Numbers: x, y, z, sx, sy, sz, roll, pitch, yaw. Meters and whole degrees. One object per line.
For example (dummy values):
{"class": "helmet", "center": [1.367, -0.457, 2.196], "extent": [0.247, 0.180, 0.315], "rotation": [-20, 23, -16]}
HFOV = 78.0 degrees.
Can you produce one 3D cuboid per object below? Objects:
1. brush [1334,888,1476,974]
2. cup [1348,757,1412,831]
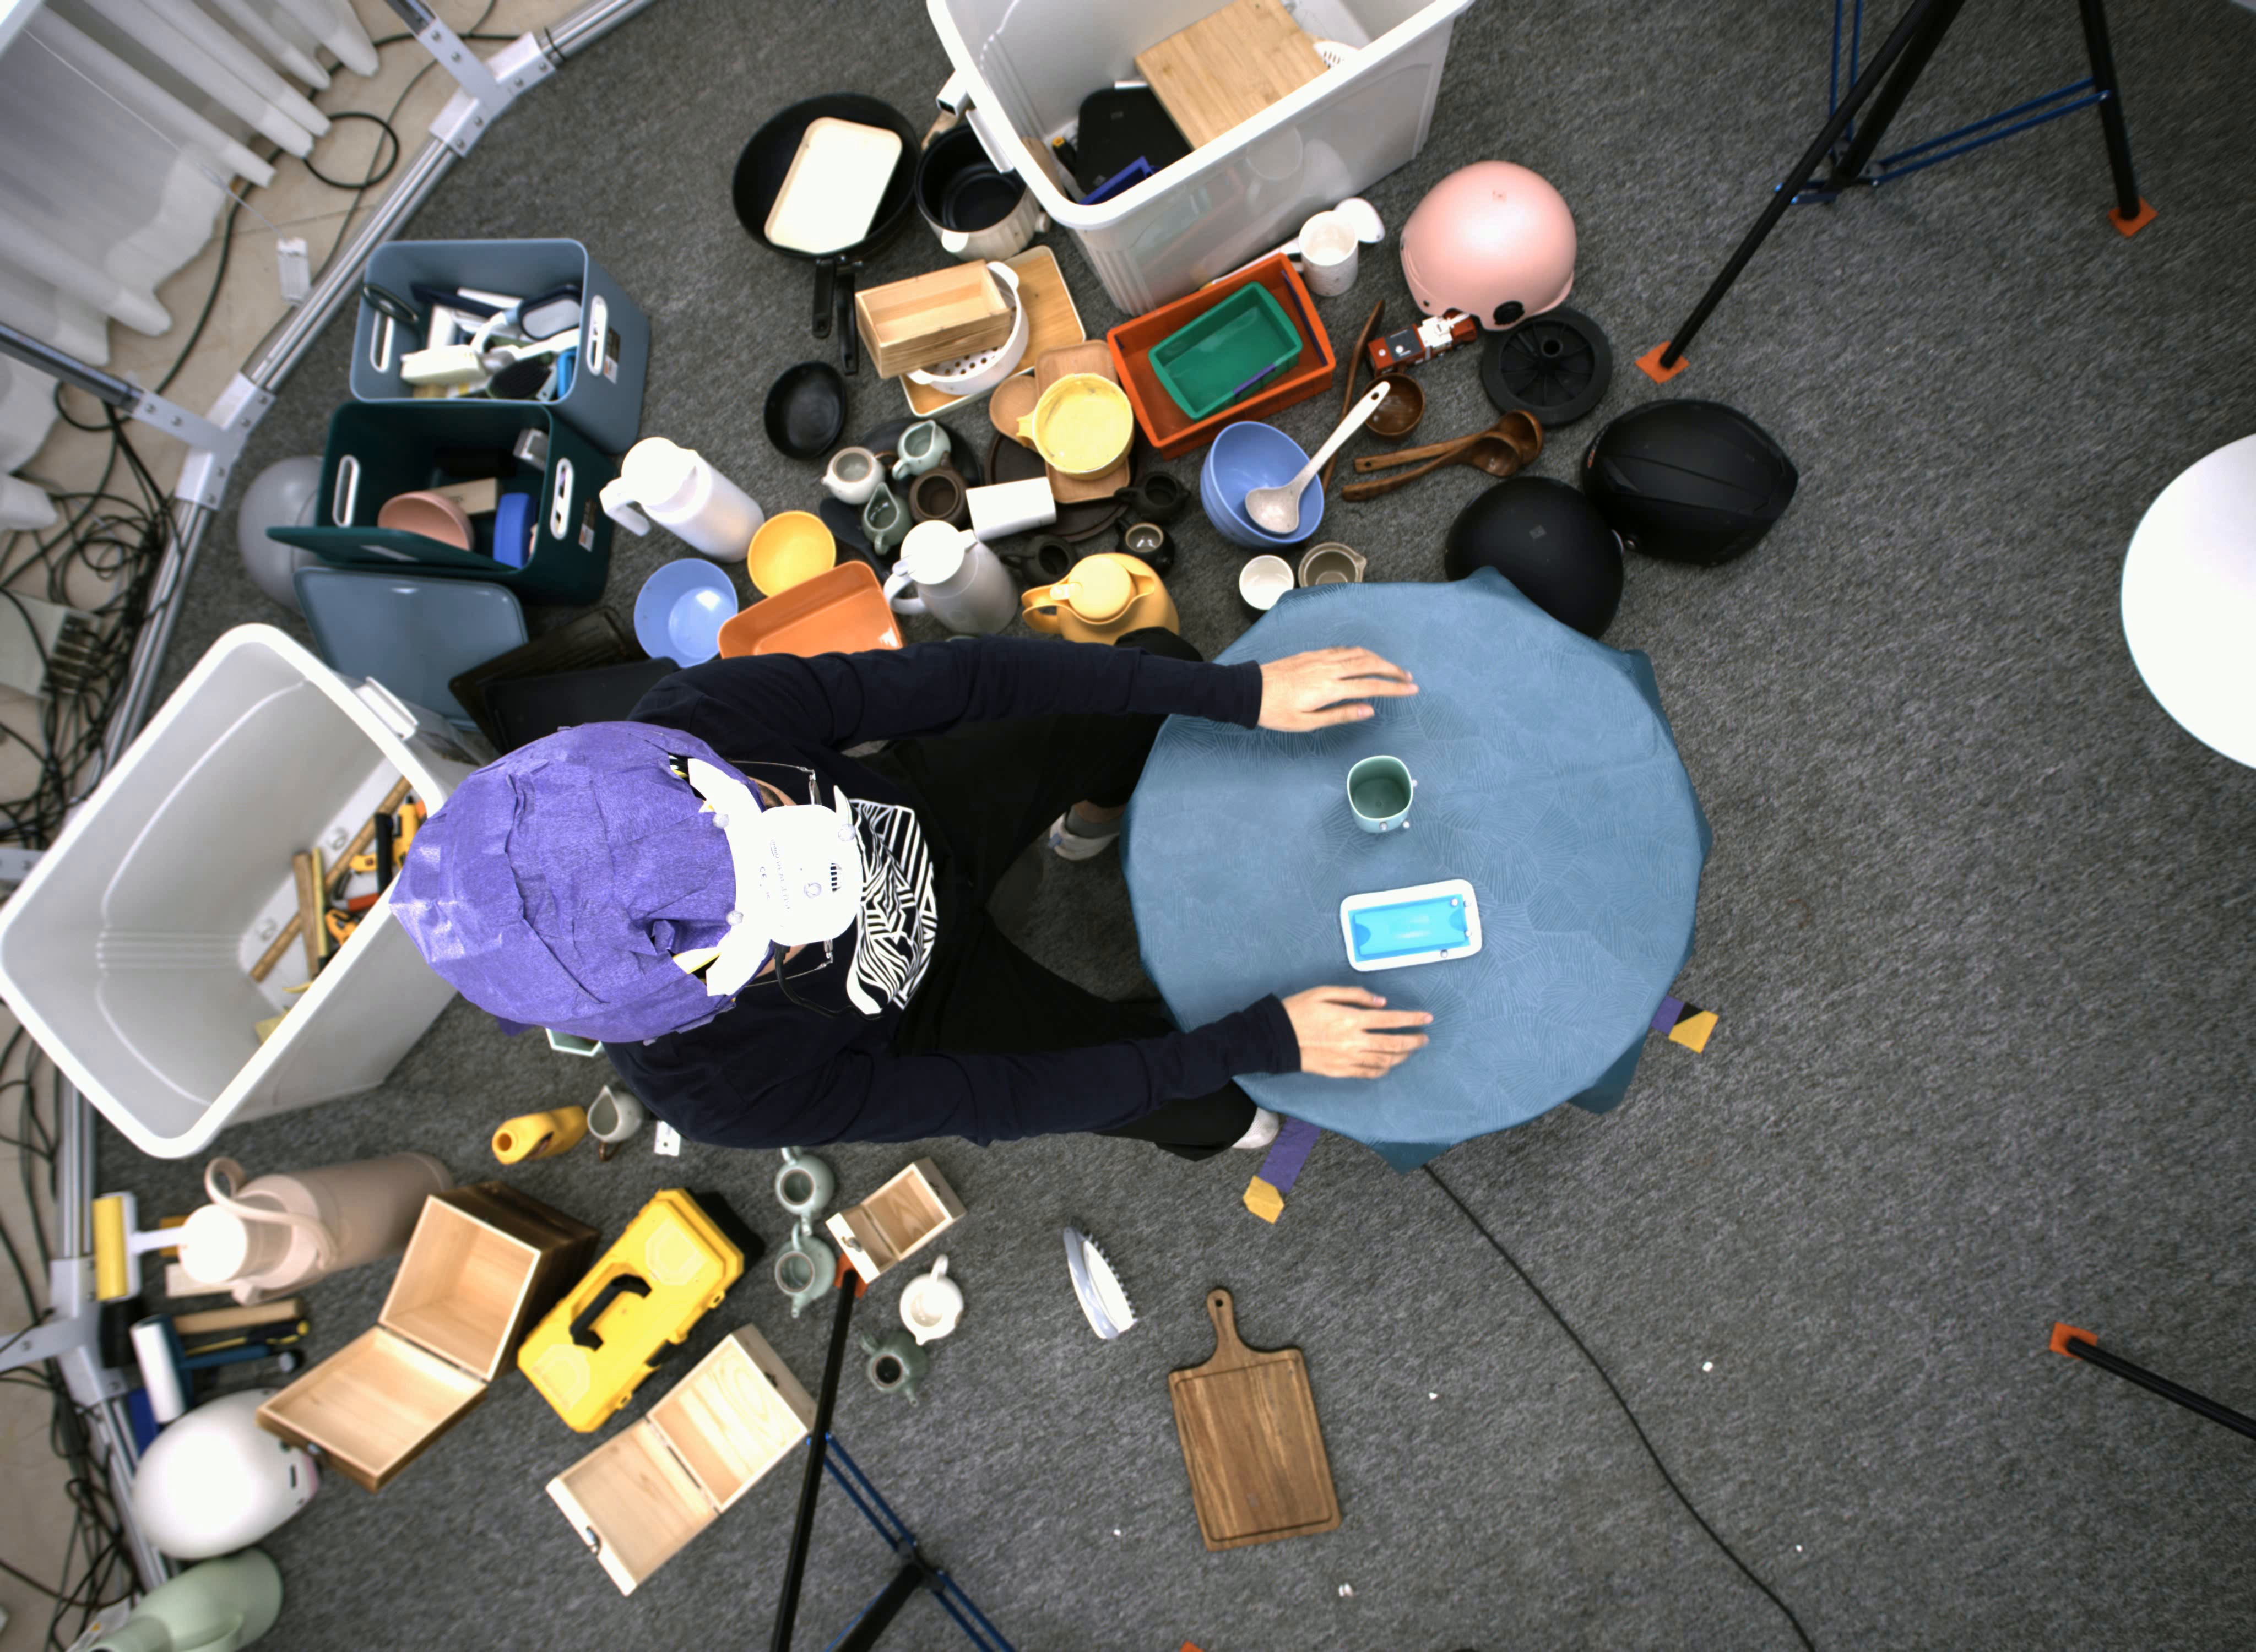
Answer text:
{"class": "brush", "center": [0.285, 0.103, 1.423], "extent": [0.144, 0.056, 0.083], "rotation": [-7, 82, 7]}
{"class": "cup", "center": [0.256, -0.031, 1.405], "extent": [0.067, 0.132, 0.066], "rotation": [-1, 85, 11]}
